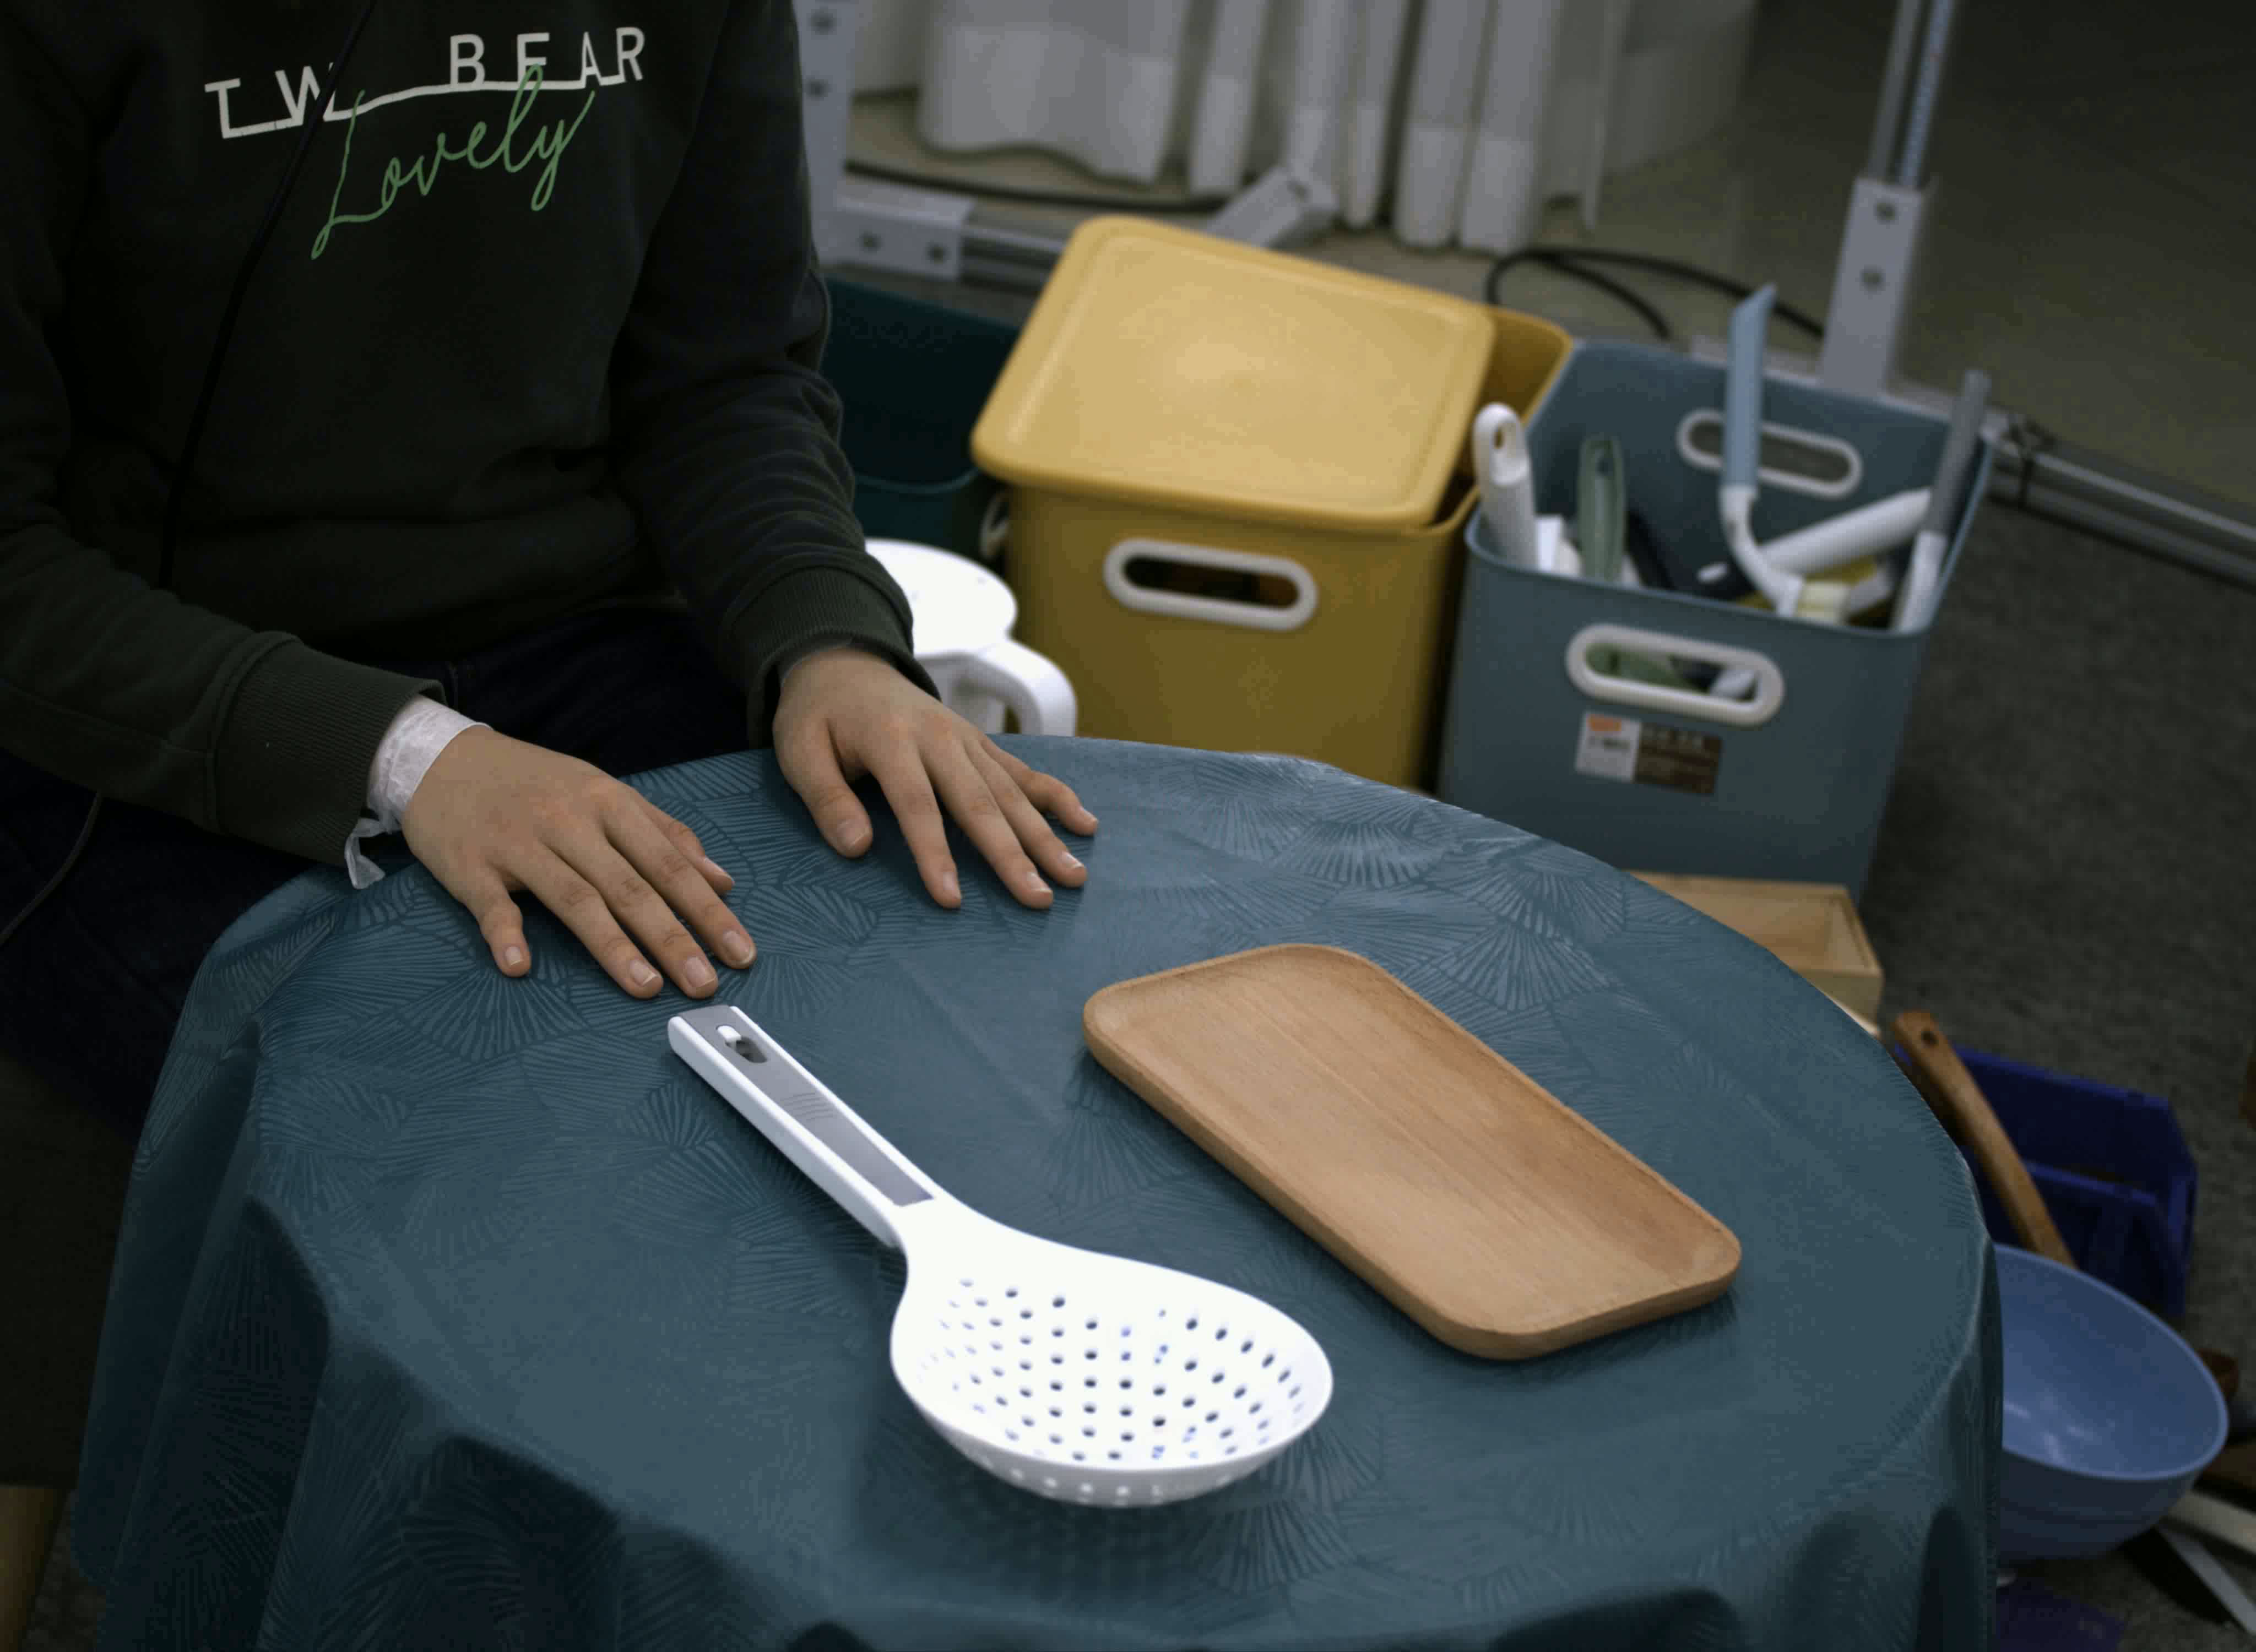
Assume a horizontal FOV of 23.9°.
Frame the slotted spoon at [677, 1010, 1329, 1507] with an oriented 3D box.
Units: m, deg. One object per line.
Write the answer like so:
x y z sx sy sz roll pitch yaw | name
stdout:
-0.061 0.133 1.718 0.135 0.045 0.353 -7 29 -30 | slotted spoon

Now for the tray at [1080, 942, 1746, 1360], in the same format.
0.094 0.109 1.832 0.130 0.023 0.253 -10 30 -33 | tray
